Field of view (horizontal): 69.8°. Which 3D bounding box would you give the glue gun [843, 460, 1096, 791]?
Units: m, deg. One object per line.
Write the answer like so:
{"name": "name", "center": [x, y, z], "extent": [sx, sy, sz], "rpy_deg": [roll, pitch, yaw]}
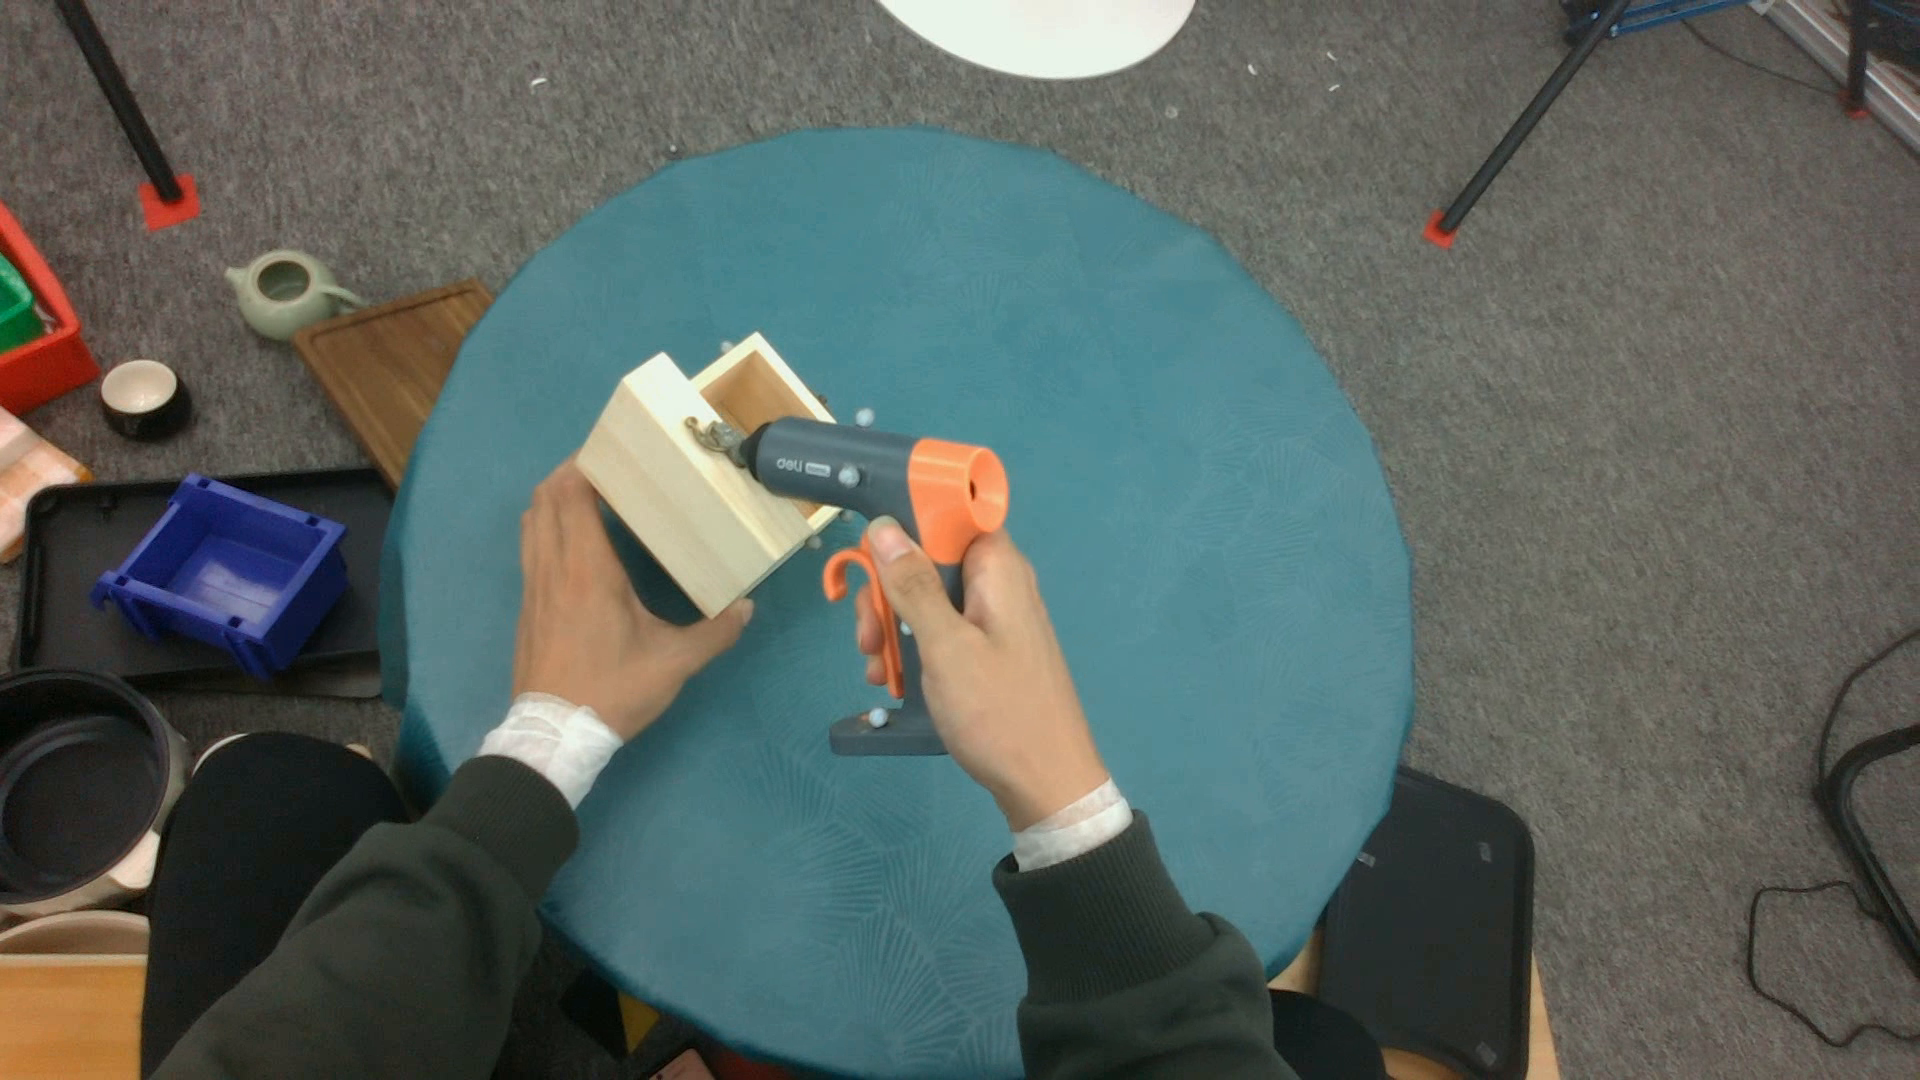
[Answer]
{"name": "glue gun", "center": [0.004, 0.031, 0.579], "extent": [0.041, 0.117, 0.140], "rpy_deg": [-10, 93, -52]}

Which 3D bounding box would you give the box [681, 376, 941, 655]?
{"name": "box", "center": [-0.061, -0.023, 0.713], "extent": [0.134, 0.183, 0.102], "rpy_deg": [-40, 89, -27]}
